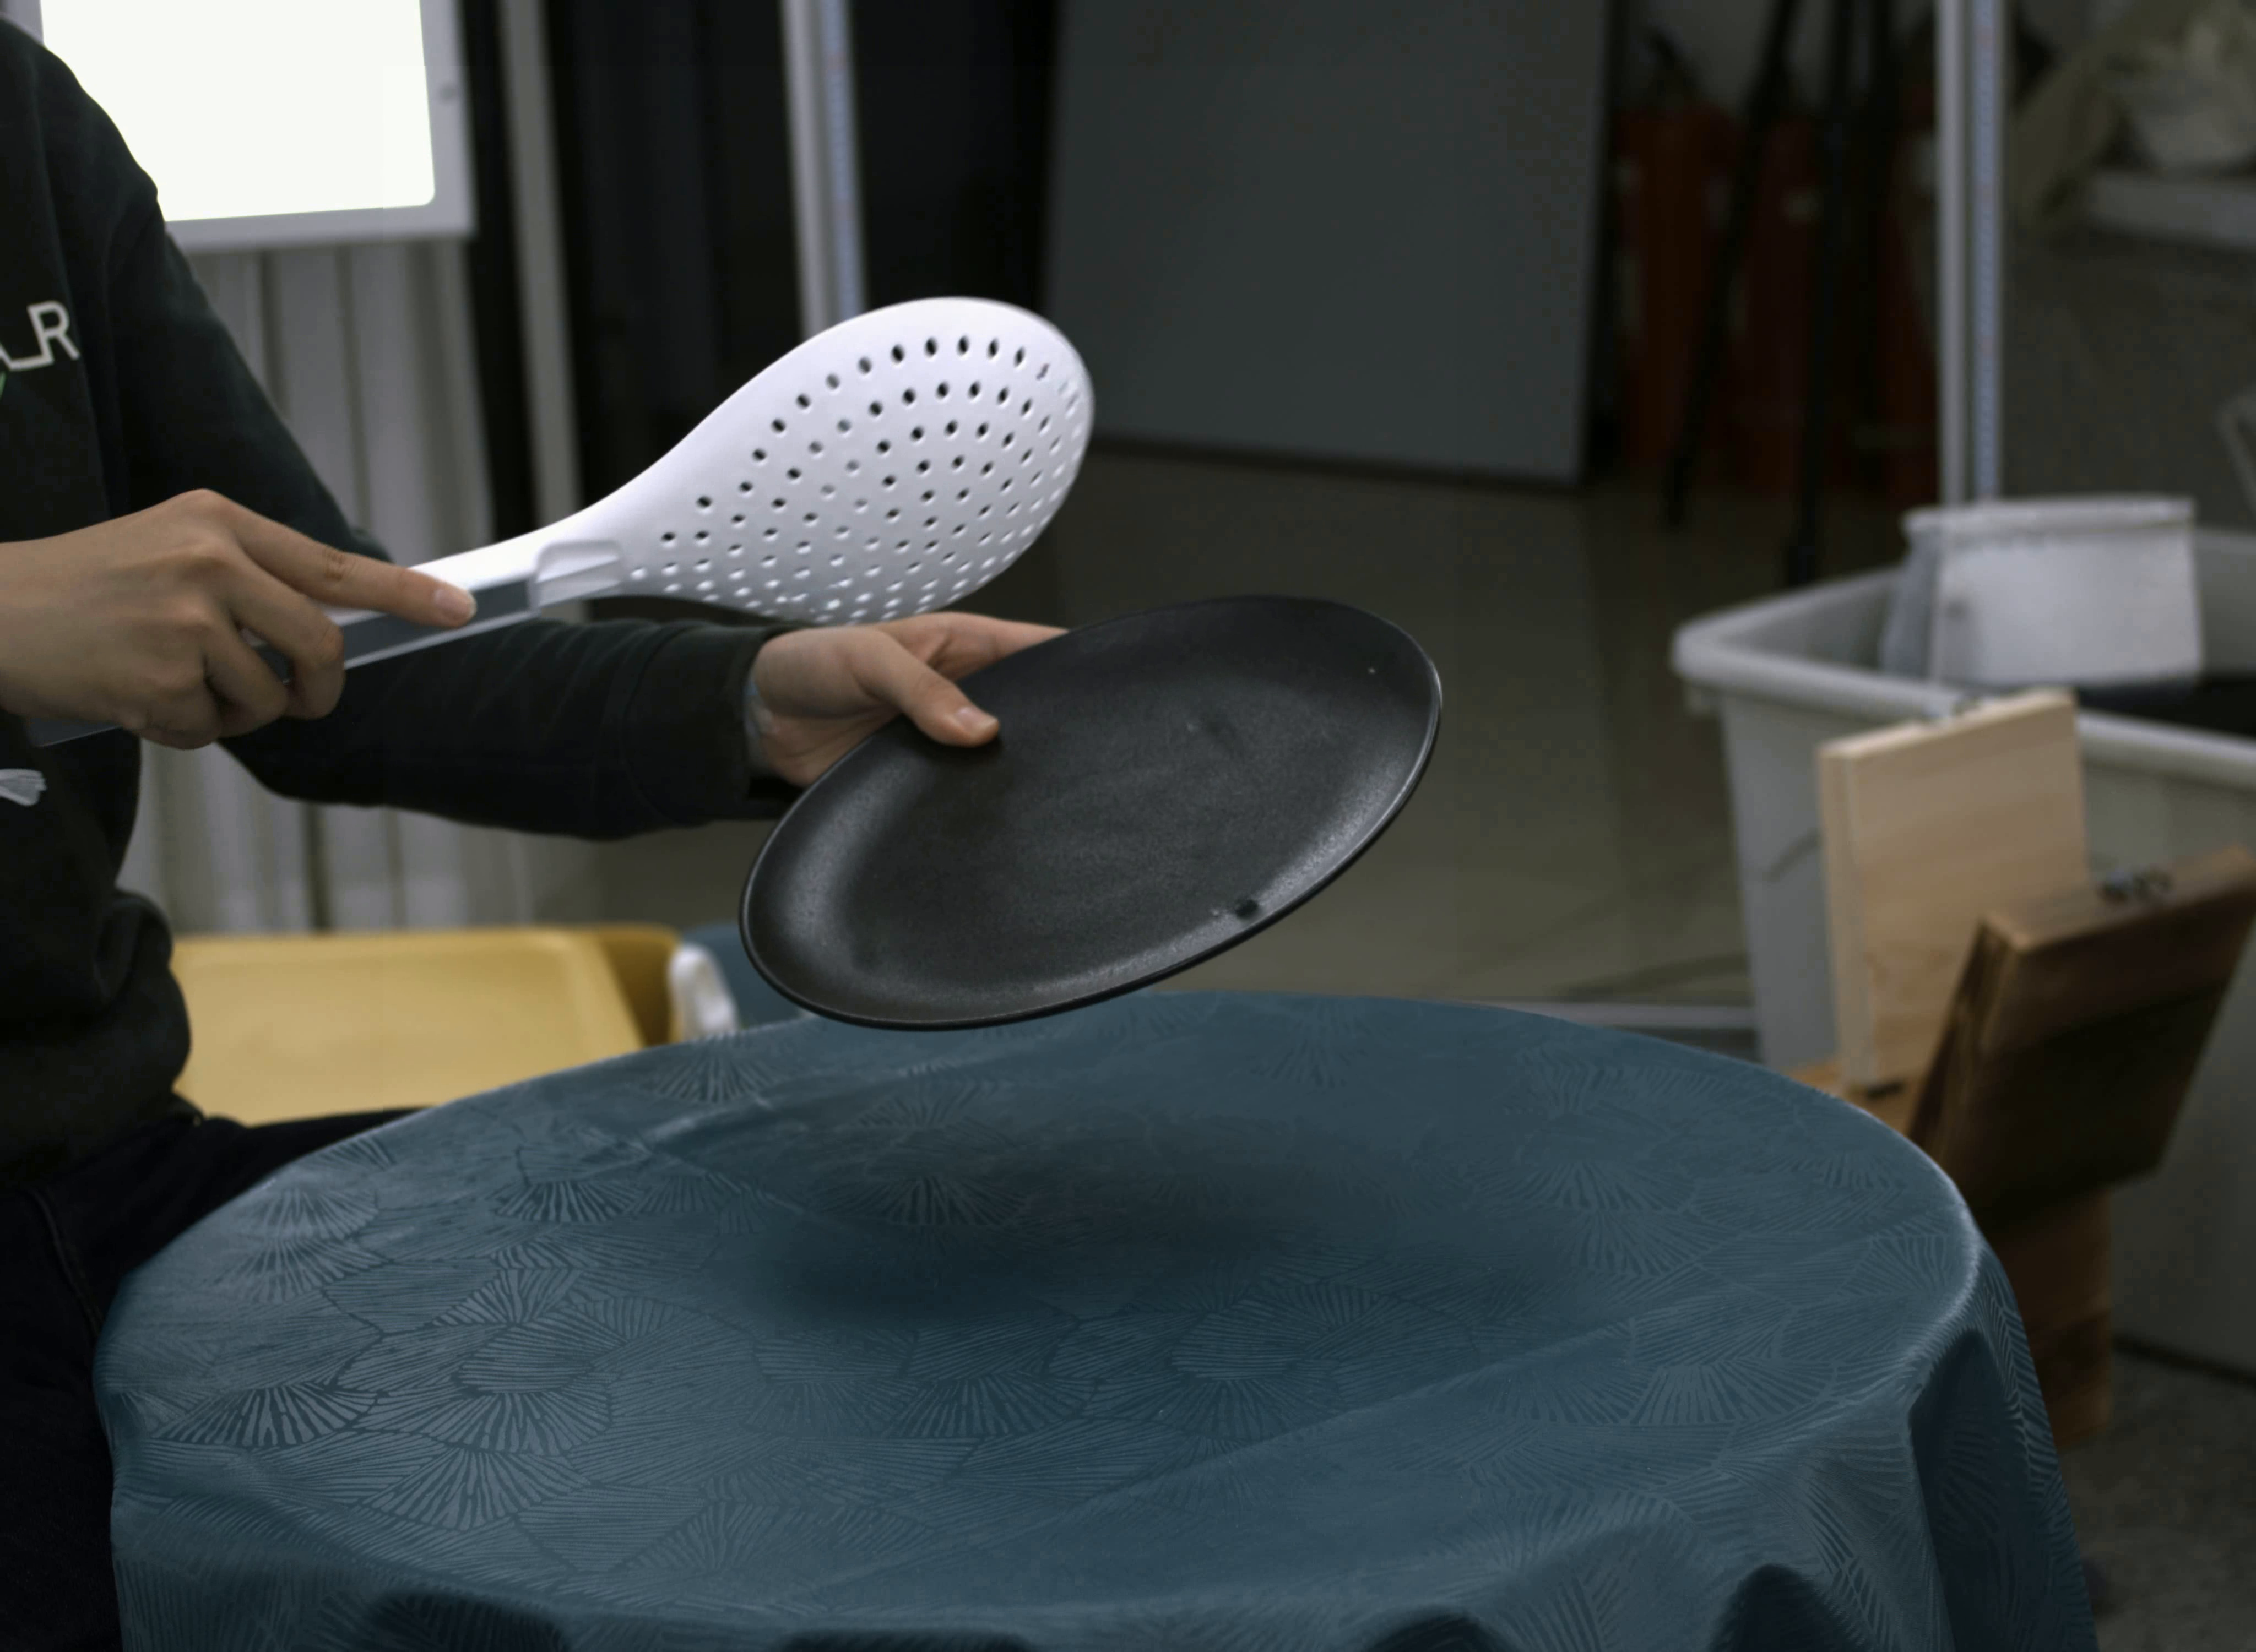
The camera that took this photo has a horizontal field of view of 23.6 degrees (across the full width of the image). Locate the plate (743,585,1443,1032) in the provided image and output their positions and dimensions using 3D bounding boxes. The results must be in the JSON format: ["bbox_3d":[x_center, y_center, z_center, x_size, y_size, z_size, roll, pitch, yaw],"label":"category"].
[{"bbox_3d":[-0.010,-0.001,1.746,0.243,0.023,0.245,-19,29,10],"label":"plate"}]

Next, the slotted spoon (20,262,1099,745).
[{"bbox_3d":[-0.169,-0.085,1.666,0.344,0.136,0.046,-13,48,-8],"label":"slotted spoon"}]
